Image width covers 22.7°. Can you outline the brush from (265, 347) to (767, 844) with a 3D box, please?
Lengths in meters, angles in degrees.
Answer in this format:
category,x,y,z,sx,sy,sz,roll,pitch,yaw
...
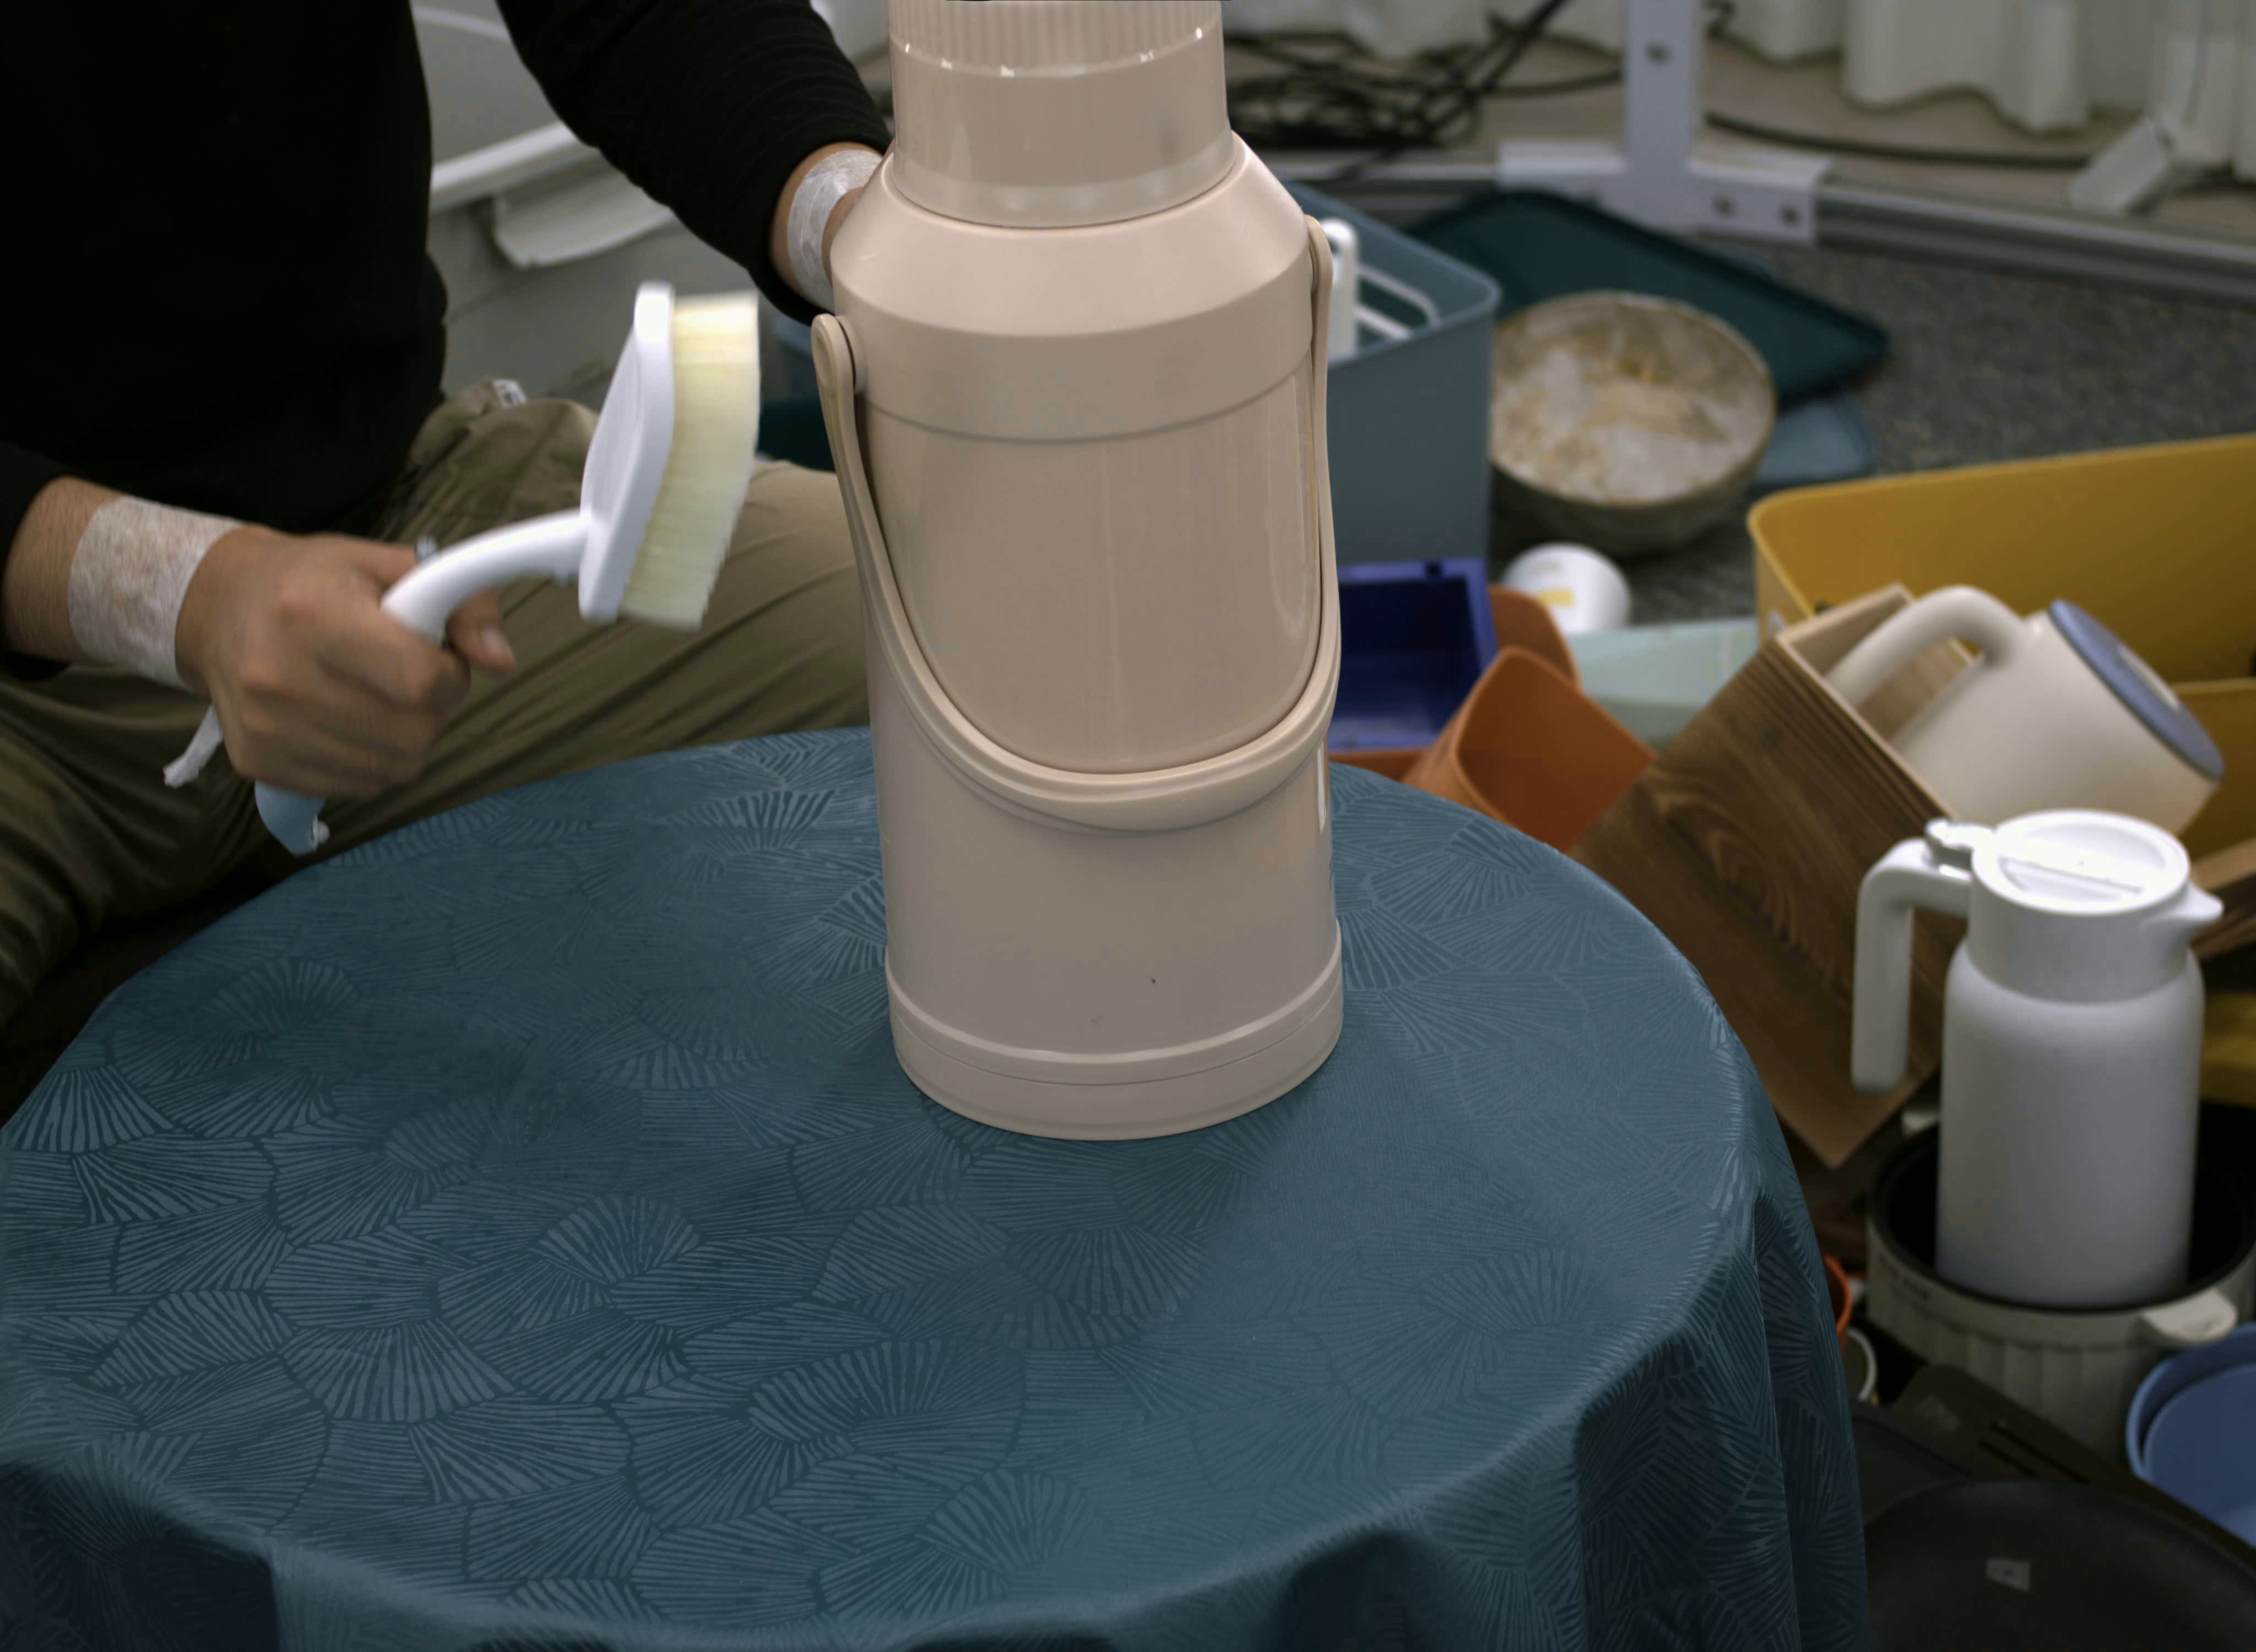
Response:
category,x,y,z,sx,sy,sz,roll,pitch,yaw
brush,-0.188,-0.066,1.878,0.084,0.320,0.084,48,49,0

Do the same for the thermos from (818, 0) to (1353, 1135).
category,x,y,z,sx,sy,sz,roll,pitch,yaw
thermos,-0.016,-0.113,1.889,0.176,0.402,0.208,-15,29,-19
